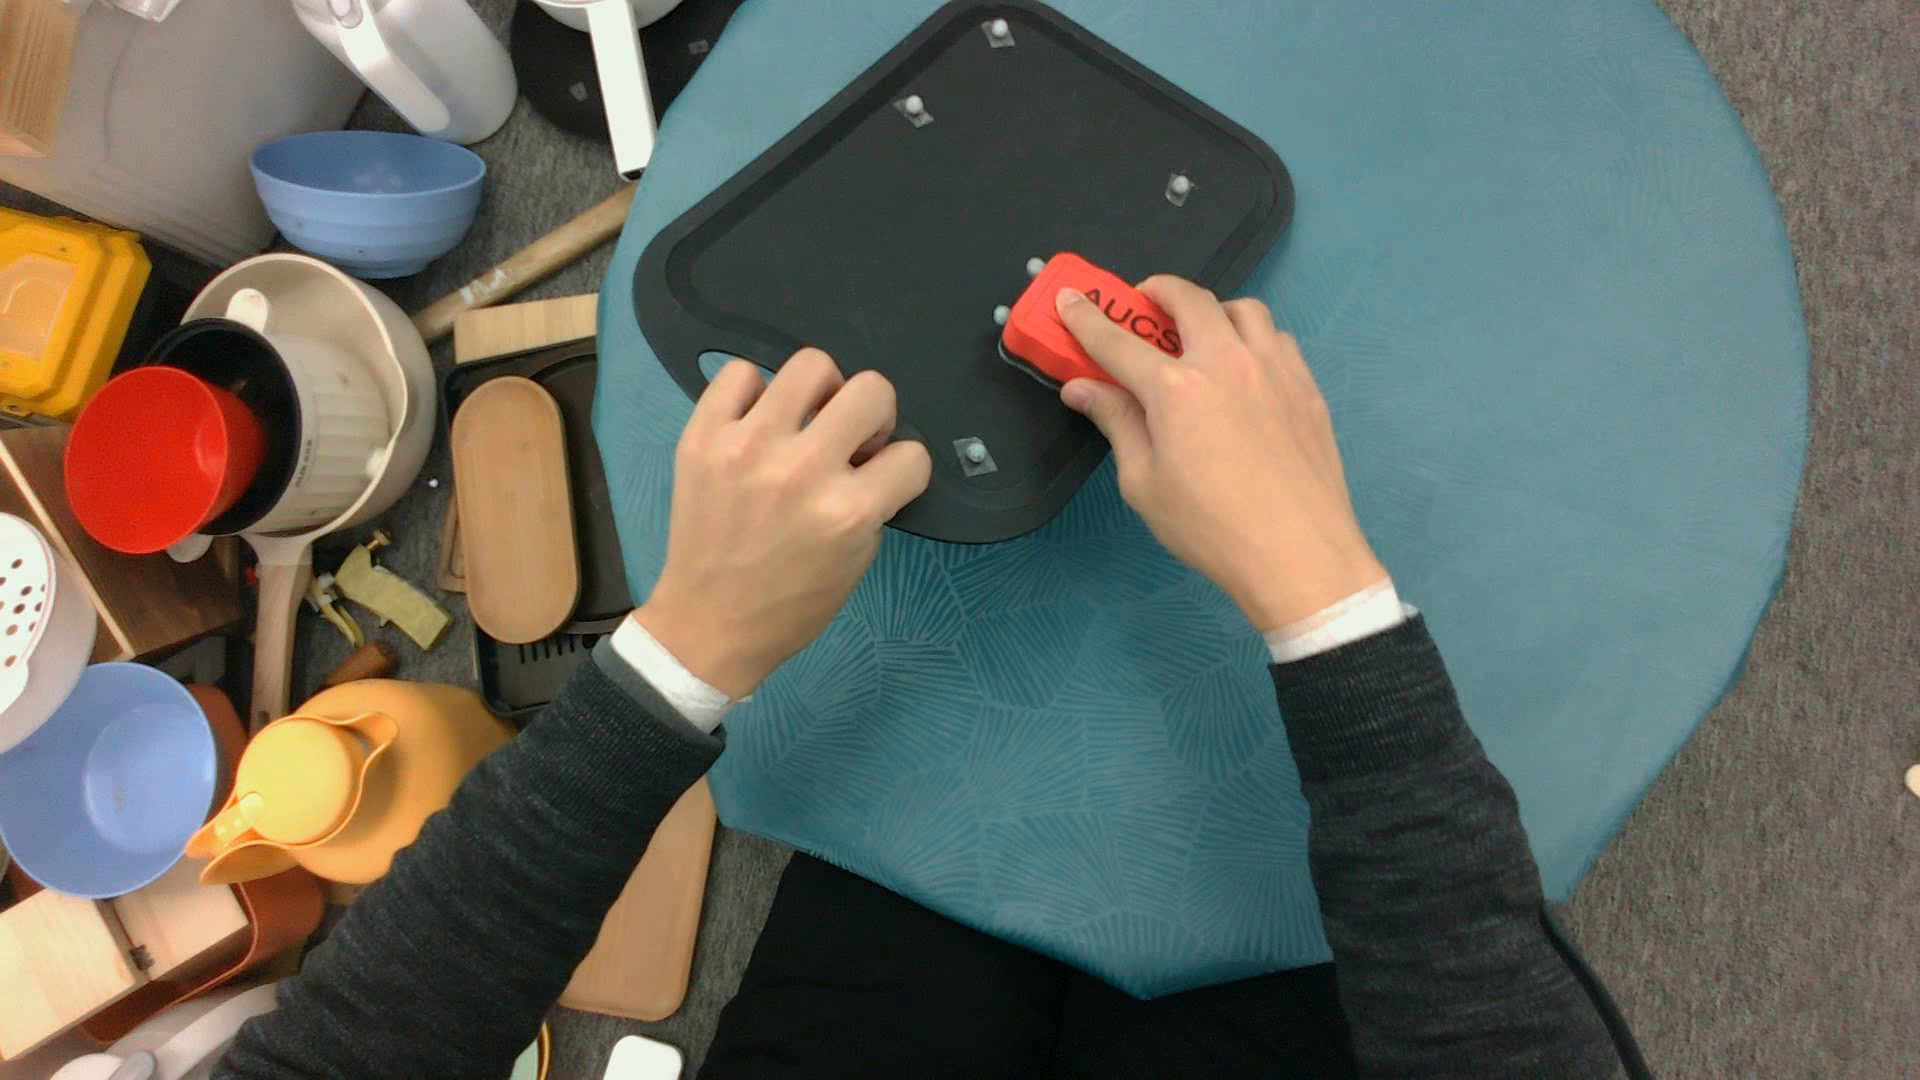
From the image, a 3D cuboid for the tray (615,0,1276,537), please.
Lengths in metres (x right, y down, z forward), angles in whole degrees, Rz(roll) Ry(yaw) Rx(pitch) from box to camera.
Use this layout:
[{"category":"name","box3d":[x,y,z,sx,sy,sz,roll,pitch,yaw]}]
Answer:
[{"category":"tray","box3d":[0.004,-0.138,0.626,0.211,0.010,0.327,35,57,8]}]

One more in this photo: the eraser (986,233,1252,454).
[{"category":"eraser","box3d":[0.069,-0.086,0.599,0.108,0.023,0.059,32,62,3]}]
